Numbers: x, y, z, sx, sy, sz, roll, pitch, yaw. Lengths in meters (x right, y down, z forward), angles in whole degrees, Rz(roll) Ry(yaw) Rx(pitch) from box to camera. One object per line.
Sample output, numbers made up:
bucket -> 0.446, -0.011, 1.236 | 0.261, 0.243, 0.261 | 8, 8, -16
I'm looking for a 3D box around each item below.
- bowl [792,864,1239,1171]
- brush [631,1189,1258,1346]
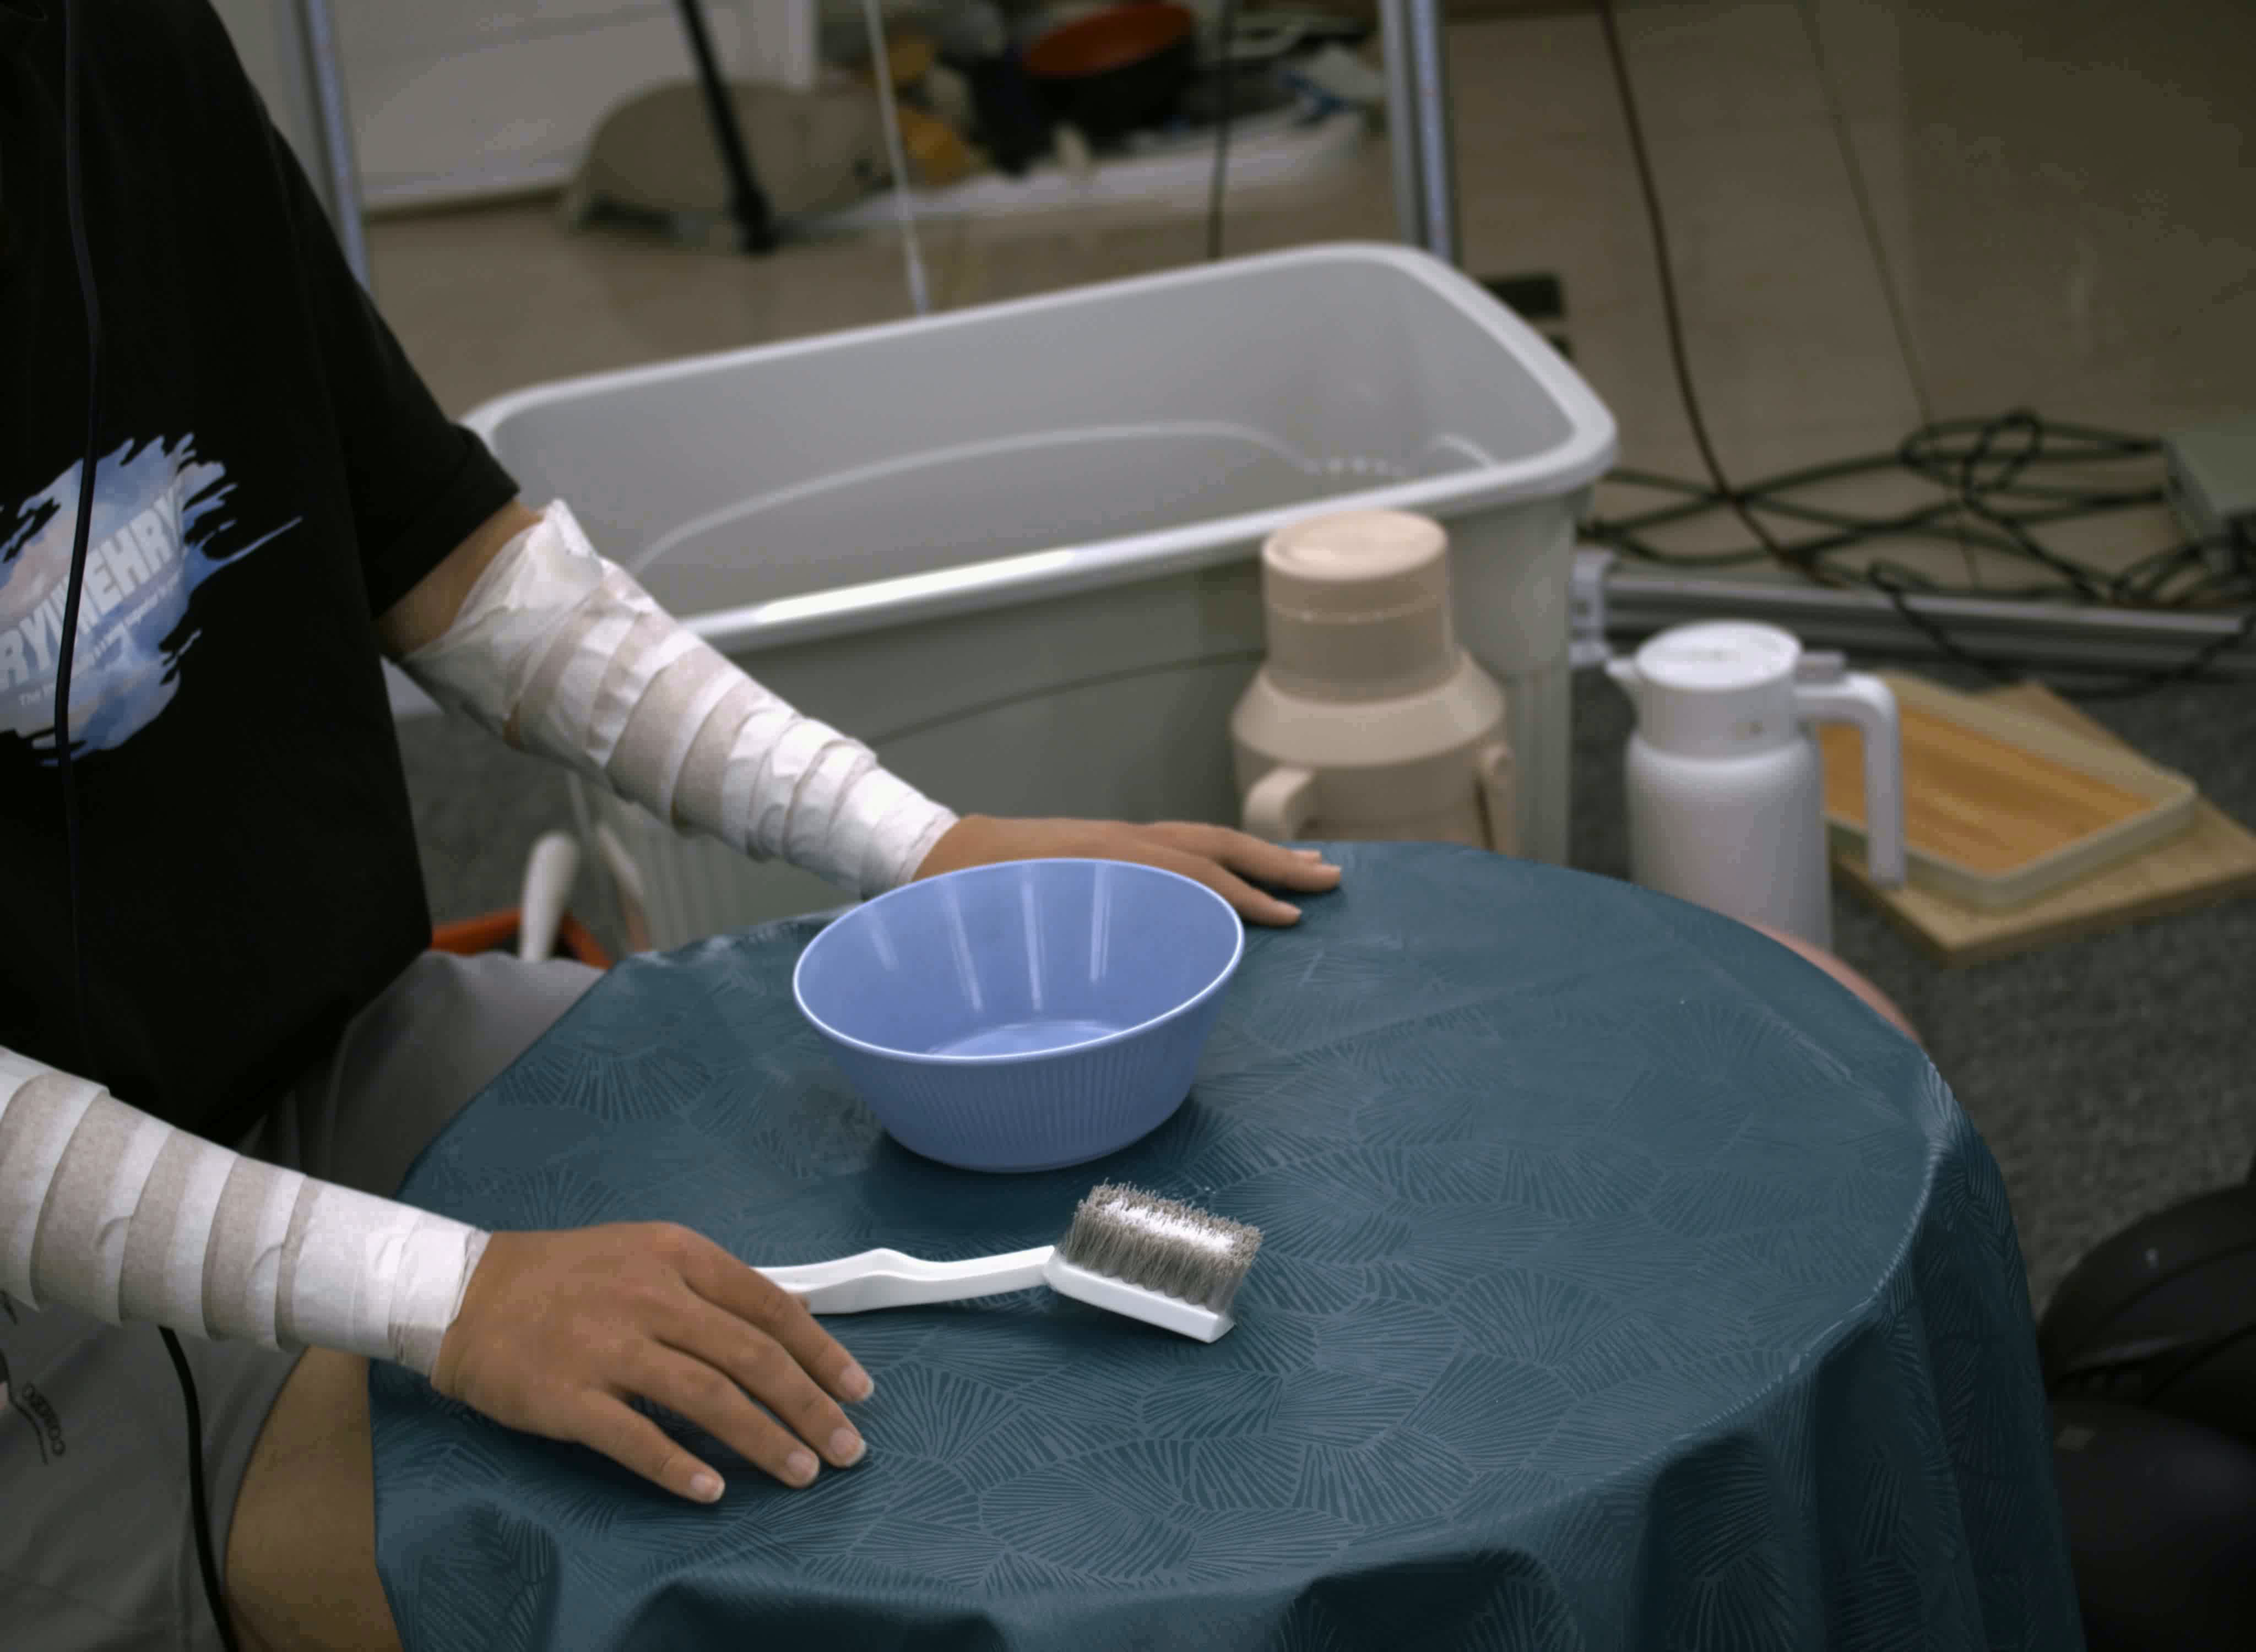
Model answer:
bowl -> -0.040, 0.080, 2.201 | 0.176, 0.071, 0.173 | -6, 24, 3
brush -> -0.071, 0.154, 2.072 | 0.243, 0.051, 0.034 | 3, 26, 19
